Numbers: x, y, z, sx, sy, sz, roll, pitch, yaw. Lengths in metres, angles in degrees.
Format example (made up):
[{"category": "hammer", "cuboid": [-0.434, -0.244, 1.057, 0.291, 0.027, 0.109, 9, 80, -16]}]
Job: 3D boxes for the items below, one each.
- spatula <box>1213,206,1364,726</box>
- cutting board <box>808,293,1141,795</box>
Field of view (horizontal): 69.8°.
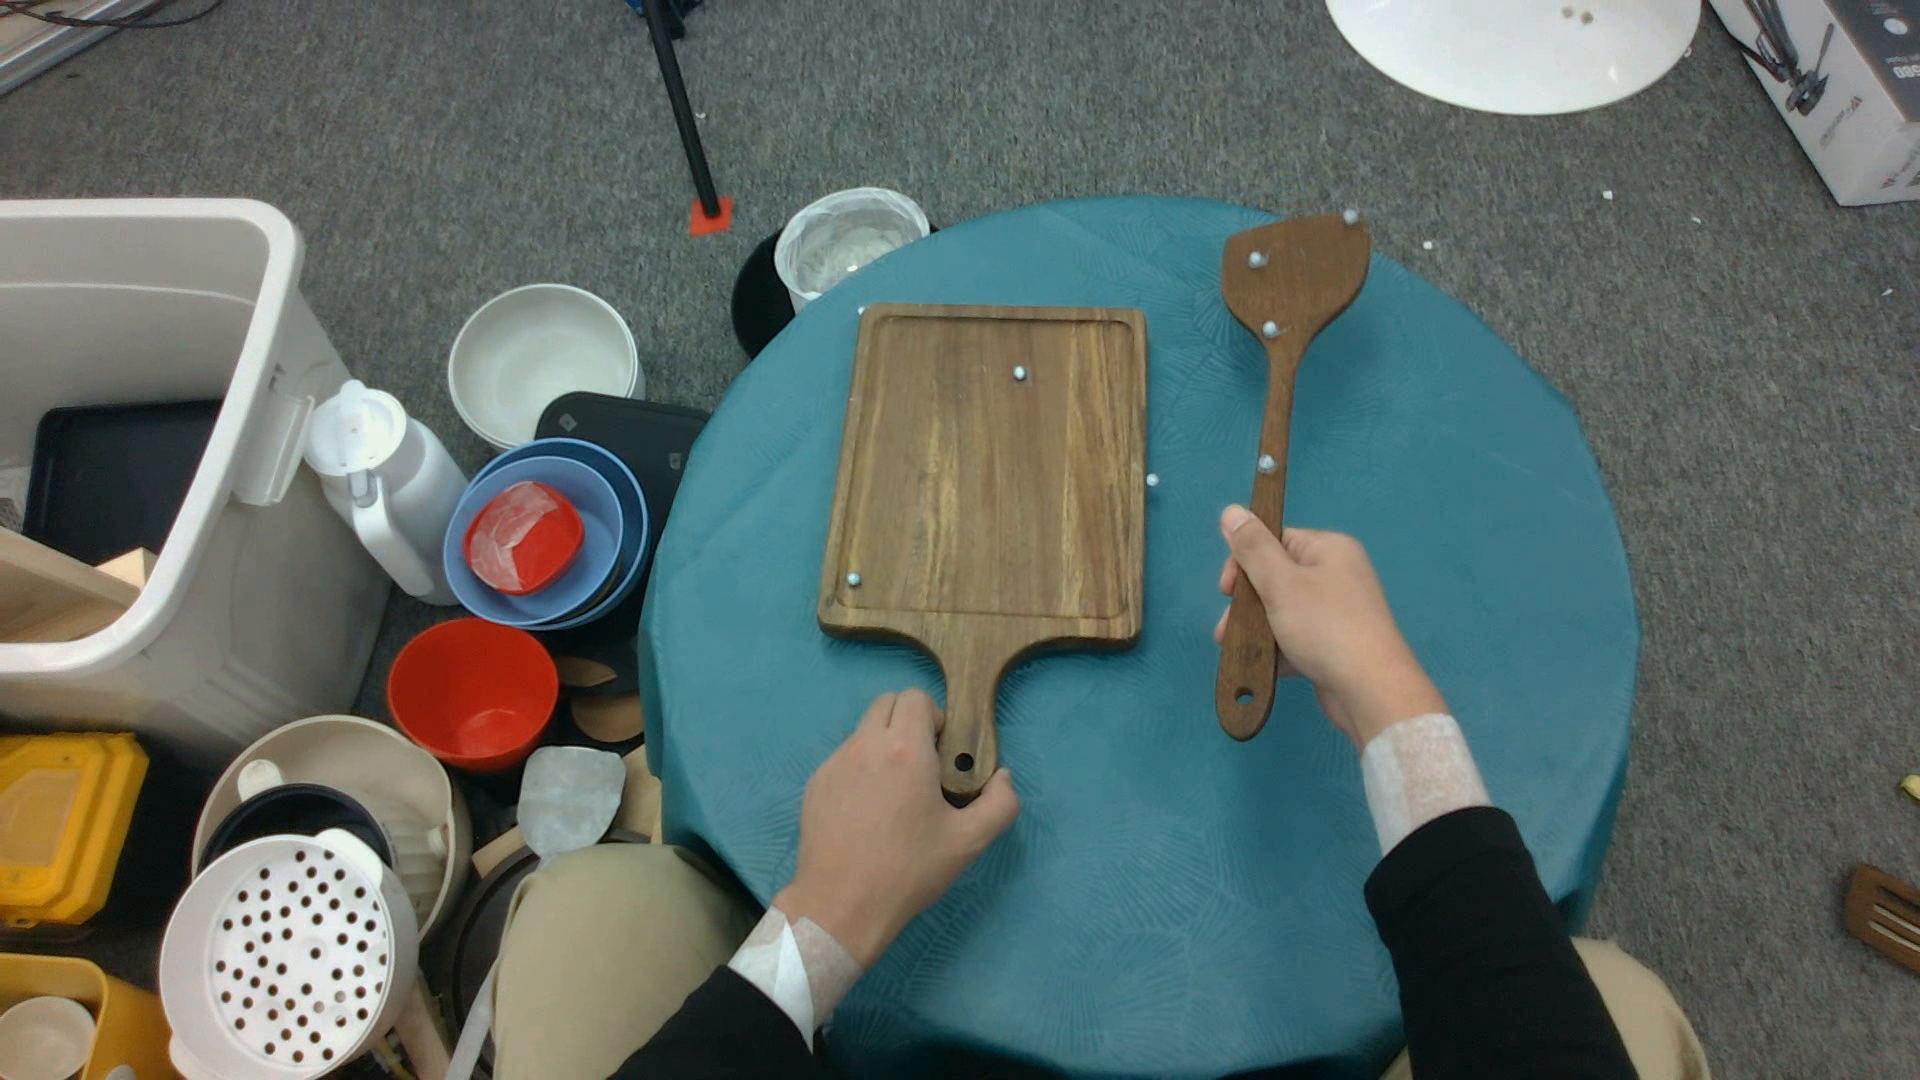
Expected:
[{"category": "spatula", "cuboid": [0.179, -0.063, 0.795, 0.096, 0.016, 0.388, -3, 51, 23]}, {"category": "cutting board", "cuboid": [0.011, -0.013, 0.852, 0.201, 0.023, 0.353, 1, 60, 5]}]
